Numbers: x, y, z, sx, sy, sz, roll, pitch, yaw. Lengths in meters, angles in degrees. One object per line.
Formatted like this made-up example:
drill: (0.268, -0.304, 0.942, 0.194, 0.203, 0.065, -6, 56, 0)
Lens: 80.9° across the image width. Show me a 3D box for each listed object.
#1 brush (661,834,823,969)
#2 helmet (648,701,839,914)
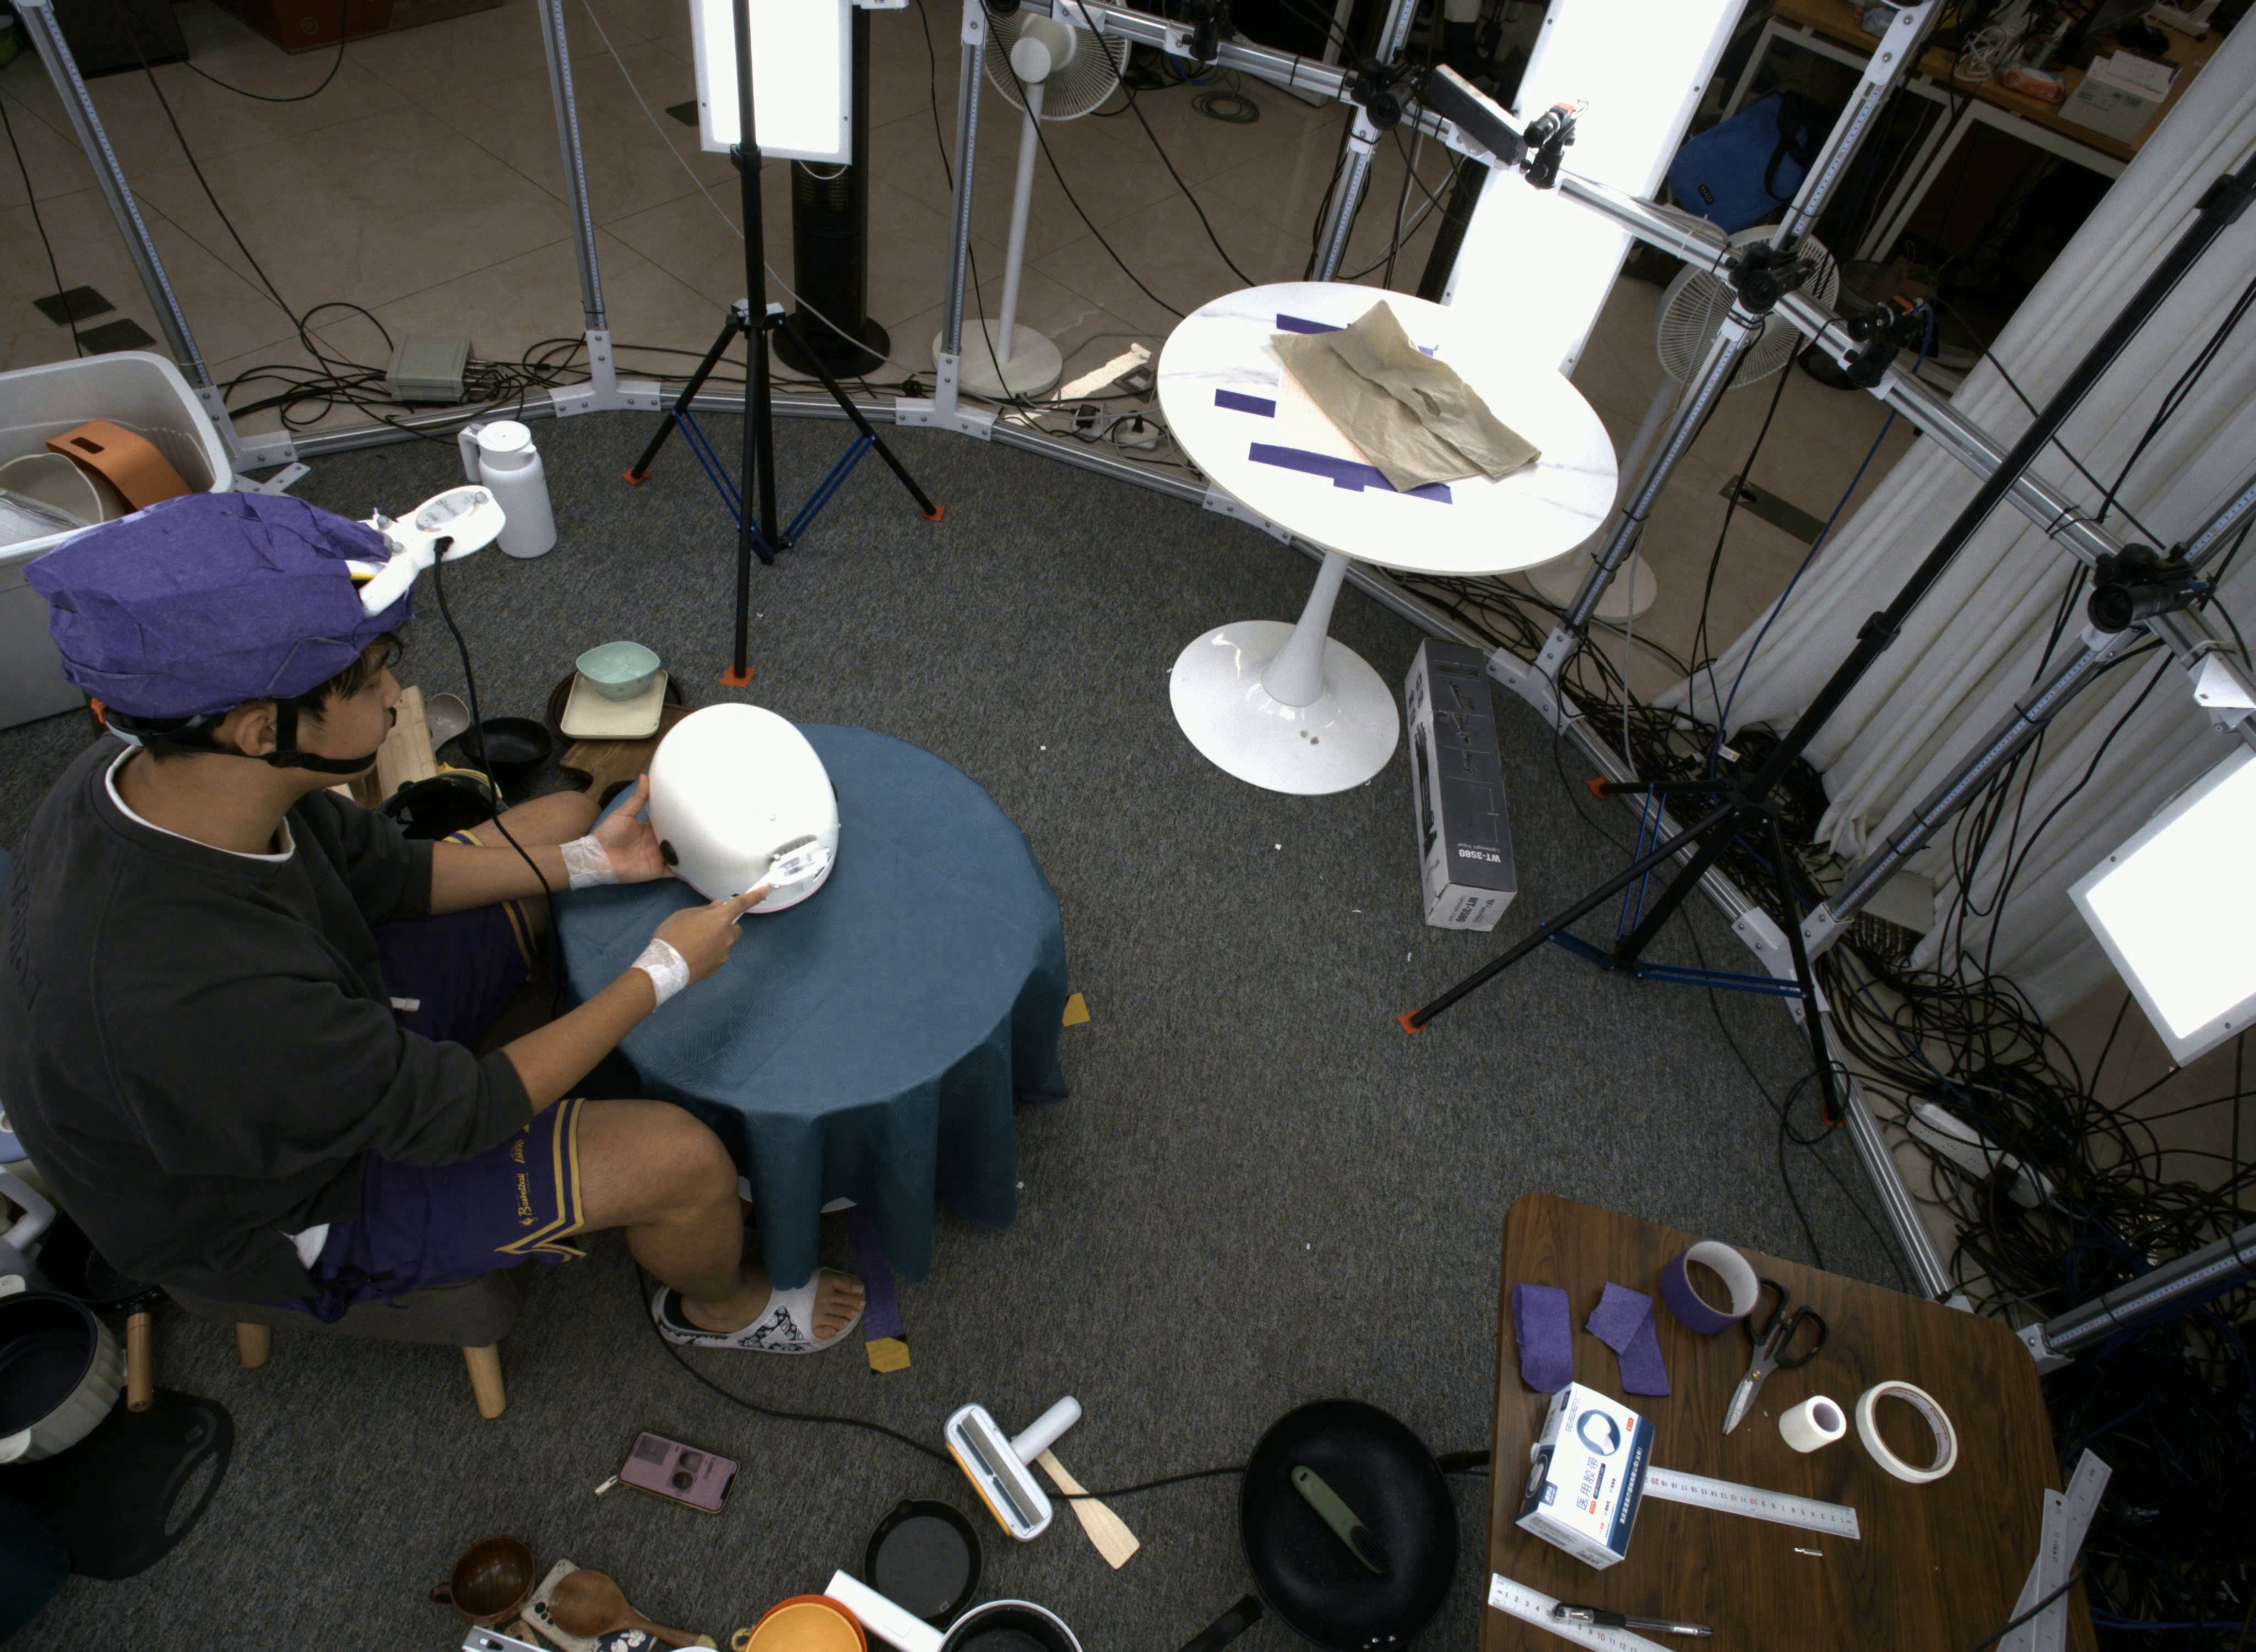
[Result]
brush: (-0.458, 0.084, 1.519, 0.048, 0.035, 0.244, 14, 42, 40)
helmet: (-0.486, -0.045, 1.636, 0.238, 0.170, 0.262, -23, 61, -30)
